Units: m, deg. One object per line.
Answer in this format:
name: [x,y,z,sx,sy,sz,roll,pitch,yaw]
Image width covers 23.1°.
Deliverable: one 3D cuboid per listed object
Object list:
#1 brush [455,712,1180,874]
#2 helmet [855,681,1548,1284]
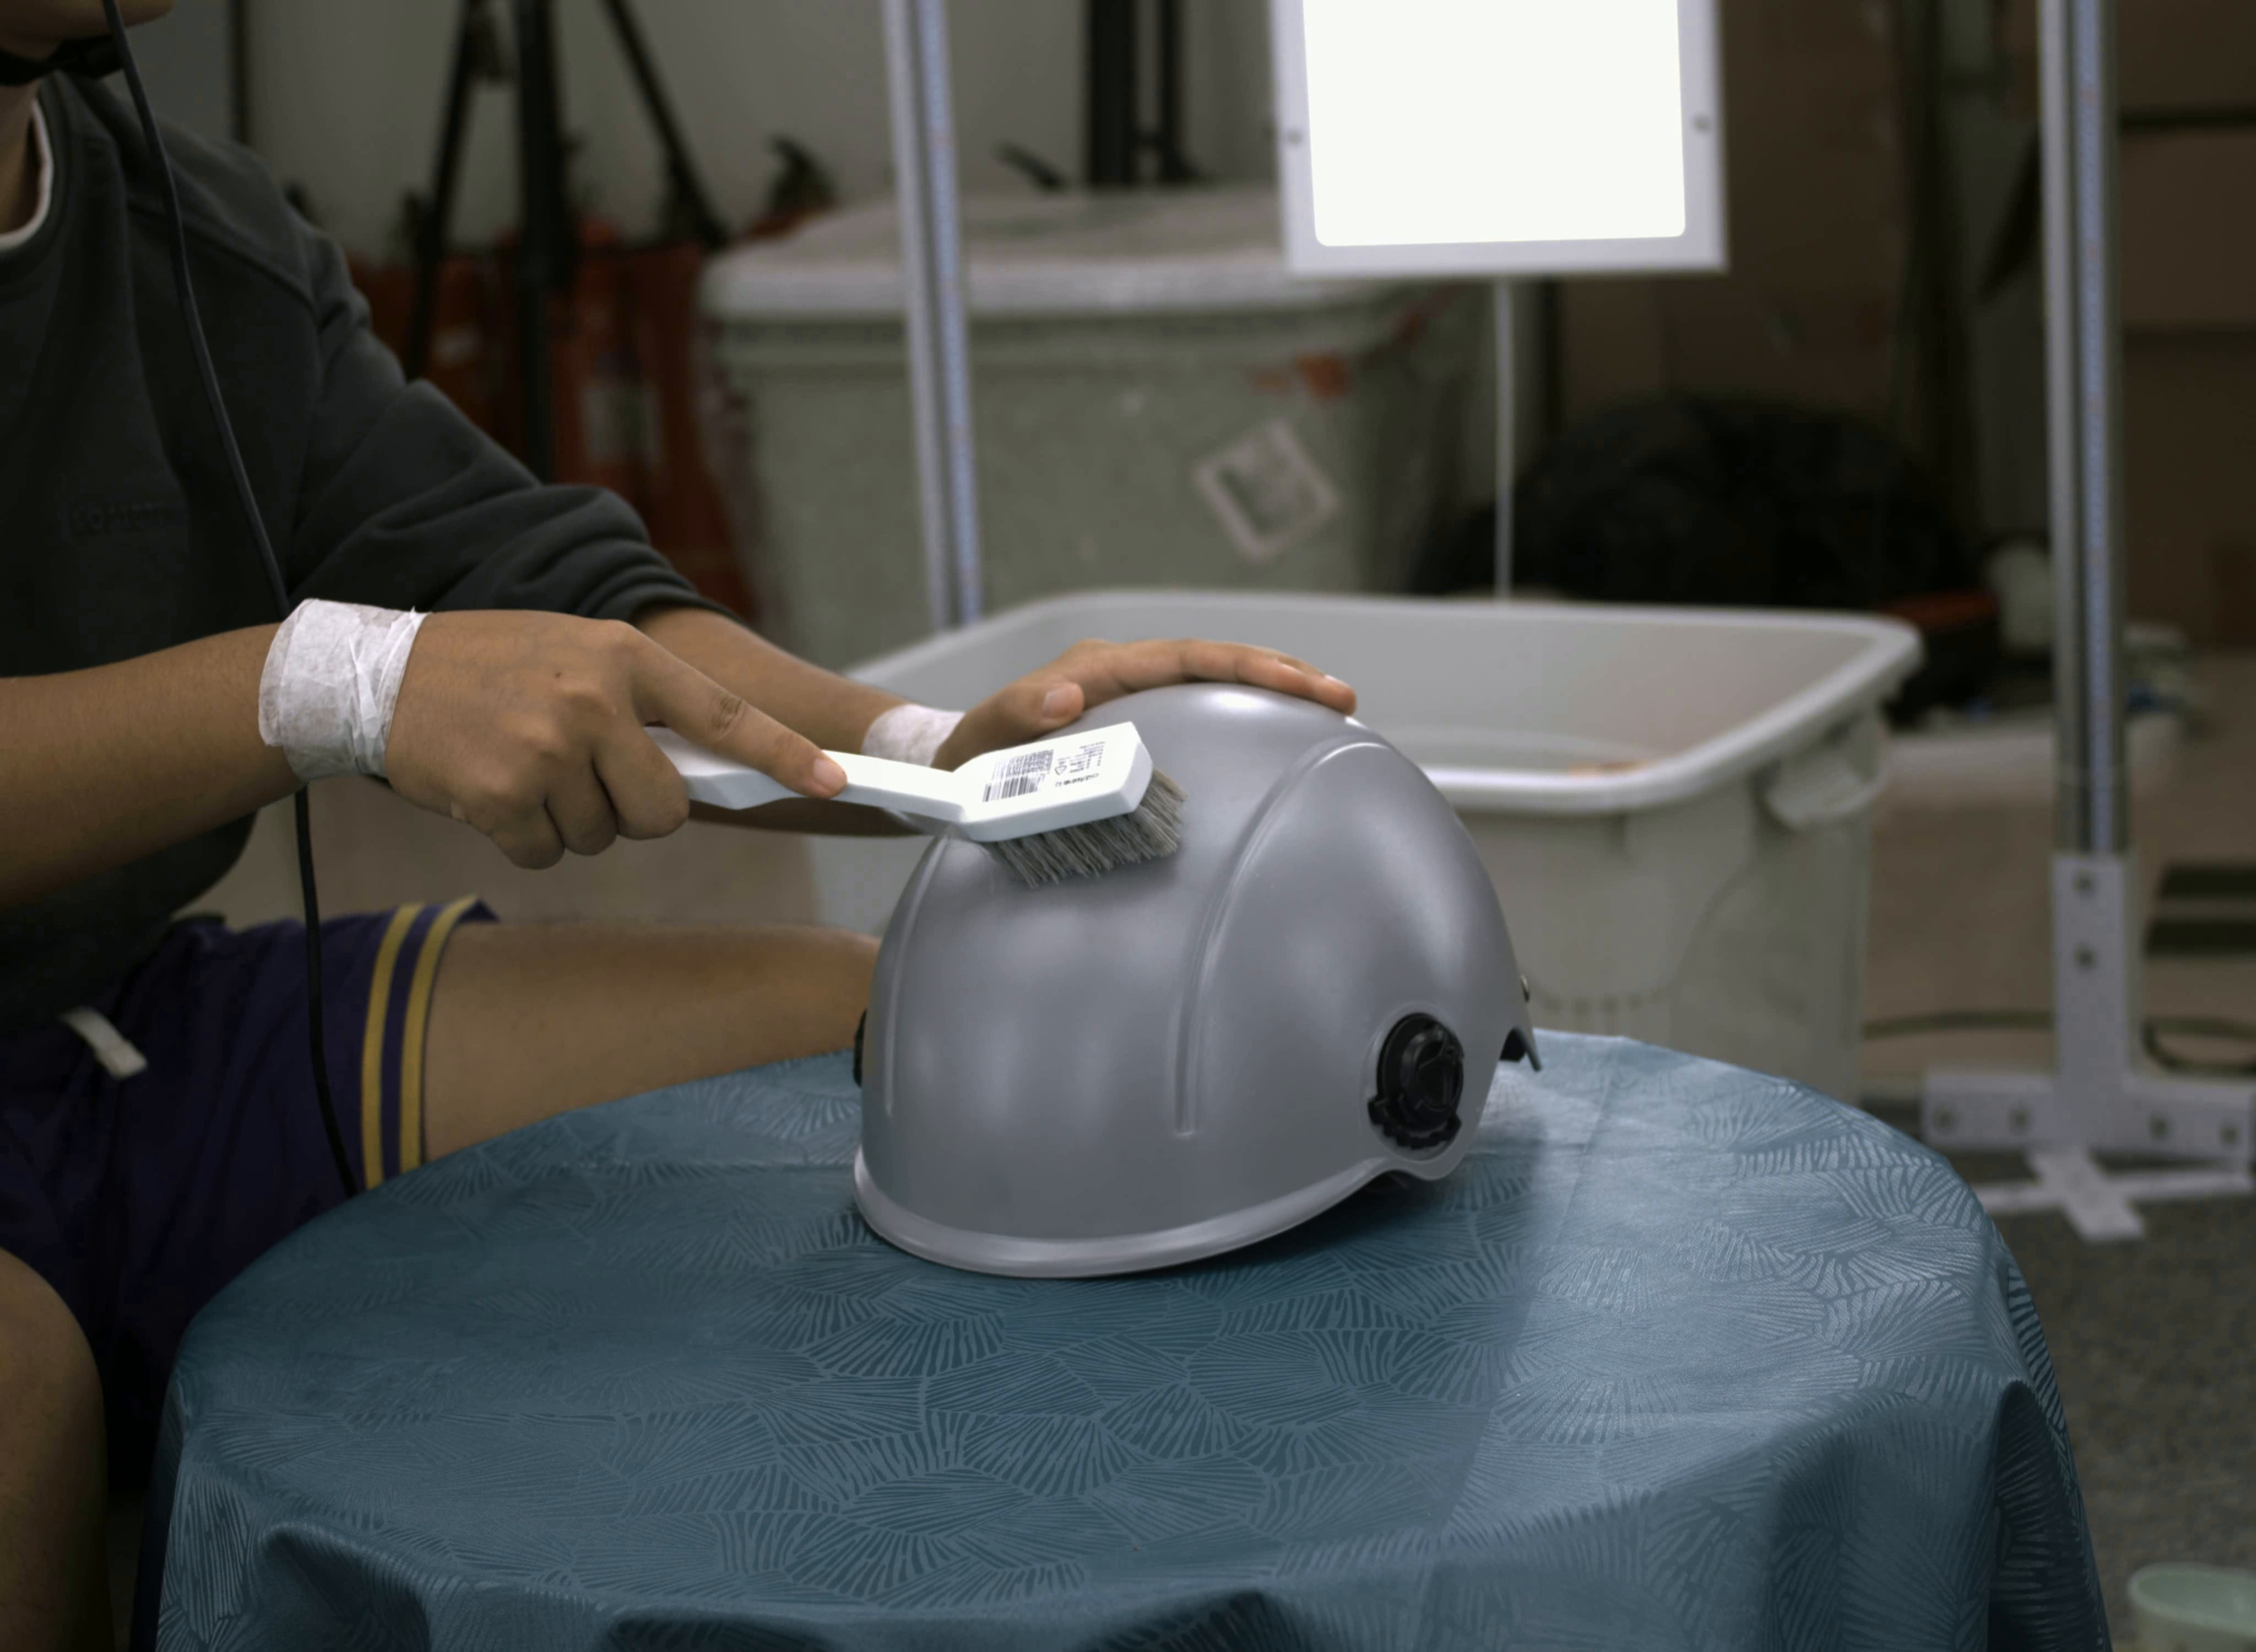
brush: [-0.104,-0.009,1.838,0.245,0.050,0.034,-1,46,12]
helmet: [0.017,0.040,1.911,0.236,0.169,0.270,1,16,30]
